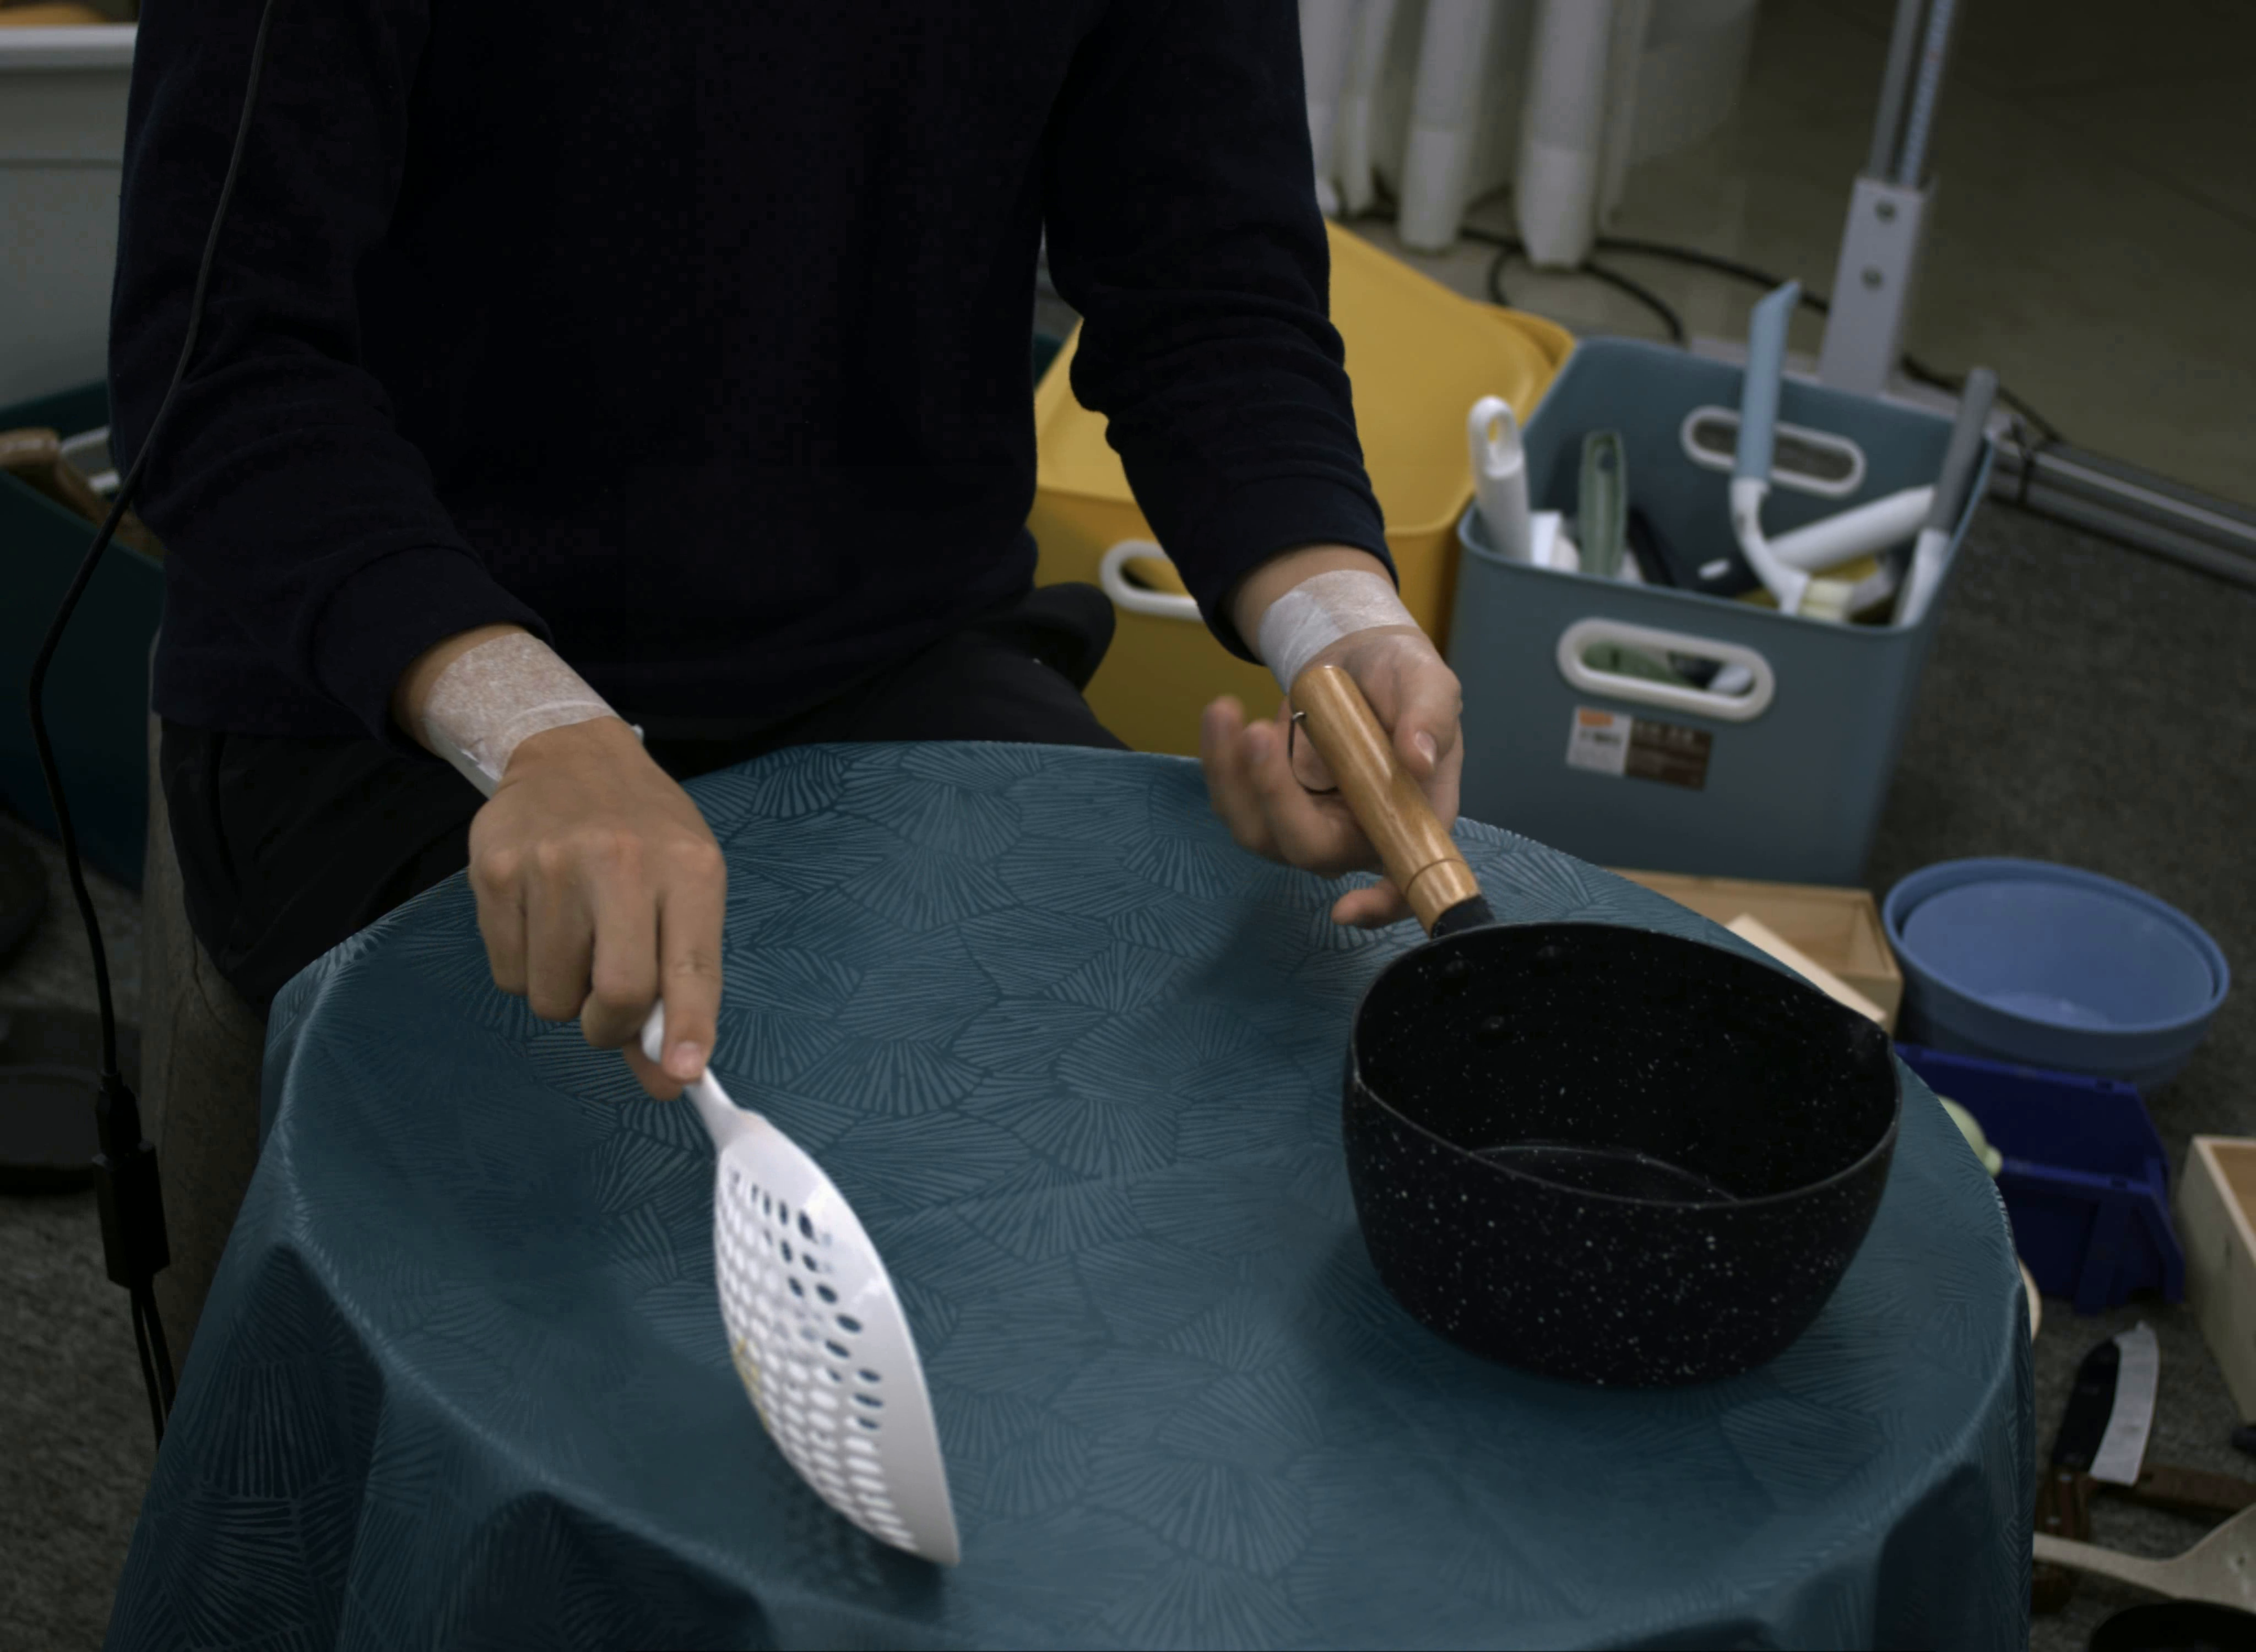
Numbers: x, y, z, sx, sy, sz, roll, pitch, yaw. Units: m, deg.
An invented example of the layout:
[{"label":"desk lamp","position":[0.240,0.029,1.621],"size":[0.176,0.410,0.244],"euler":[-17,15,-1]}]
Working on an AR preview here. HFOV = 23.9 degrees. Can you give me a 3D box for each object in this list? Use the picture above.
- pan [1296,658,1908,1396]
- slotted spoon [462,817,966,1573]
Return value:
[{"label":"pan","position":[0.129,0.066,1.826],"size":[0.206,0.108,0.346],"euler":[-7,31,-23]},{"label":"slotted spoon","position":[-0.135,0.100,1.657],"size":[0.050,0.136,0.351],"euler":[-20,41,-11]}]
